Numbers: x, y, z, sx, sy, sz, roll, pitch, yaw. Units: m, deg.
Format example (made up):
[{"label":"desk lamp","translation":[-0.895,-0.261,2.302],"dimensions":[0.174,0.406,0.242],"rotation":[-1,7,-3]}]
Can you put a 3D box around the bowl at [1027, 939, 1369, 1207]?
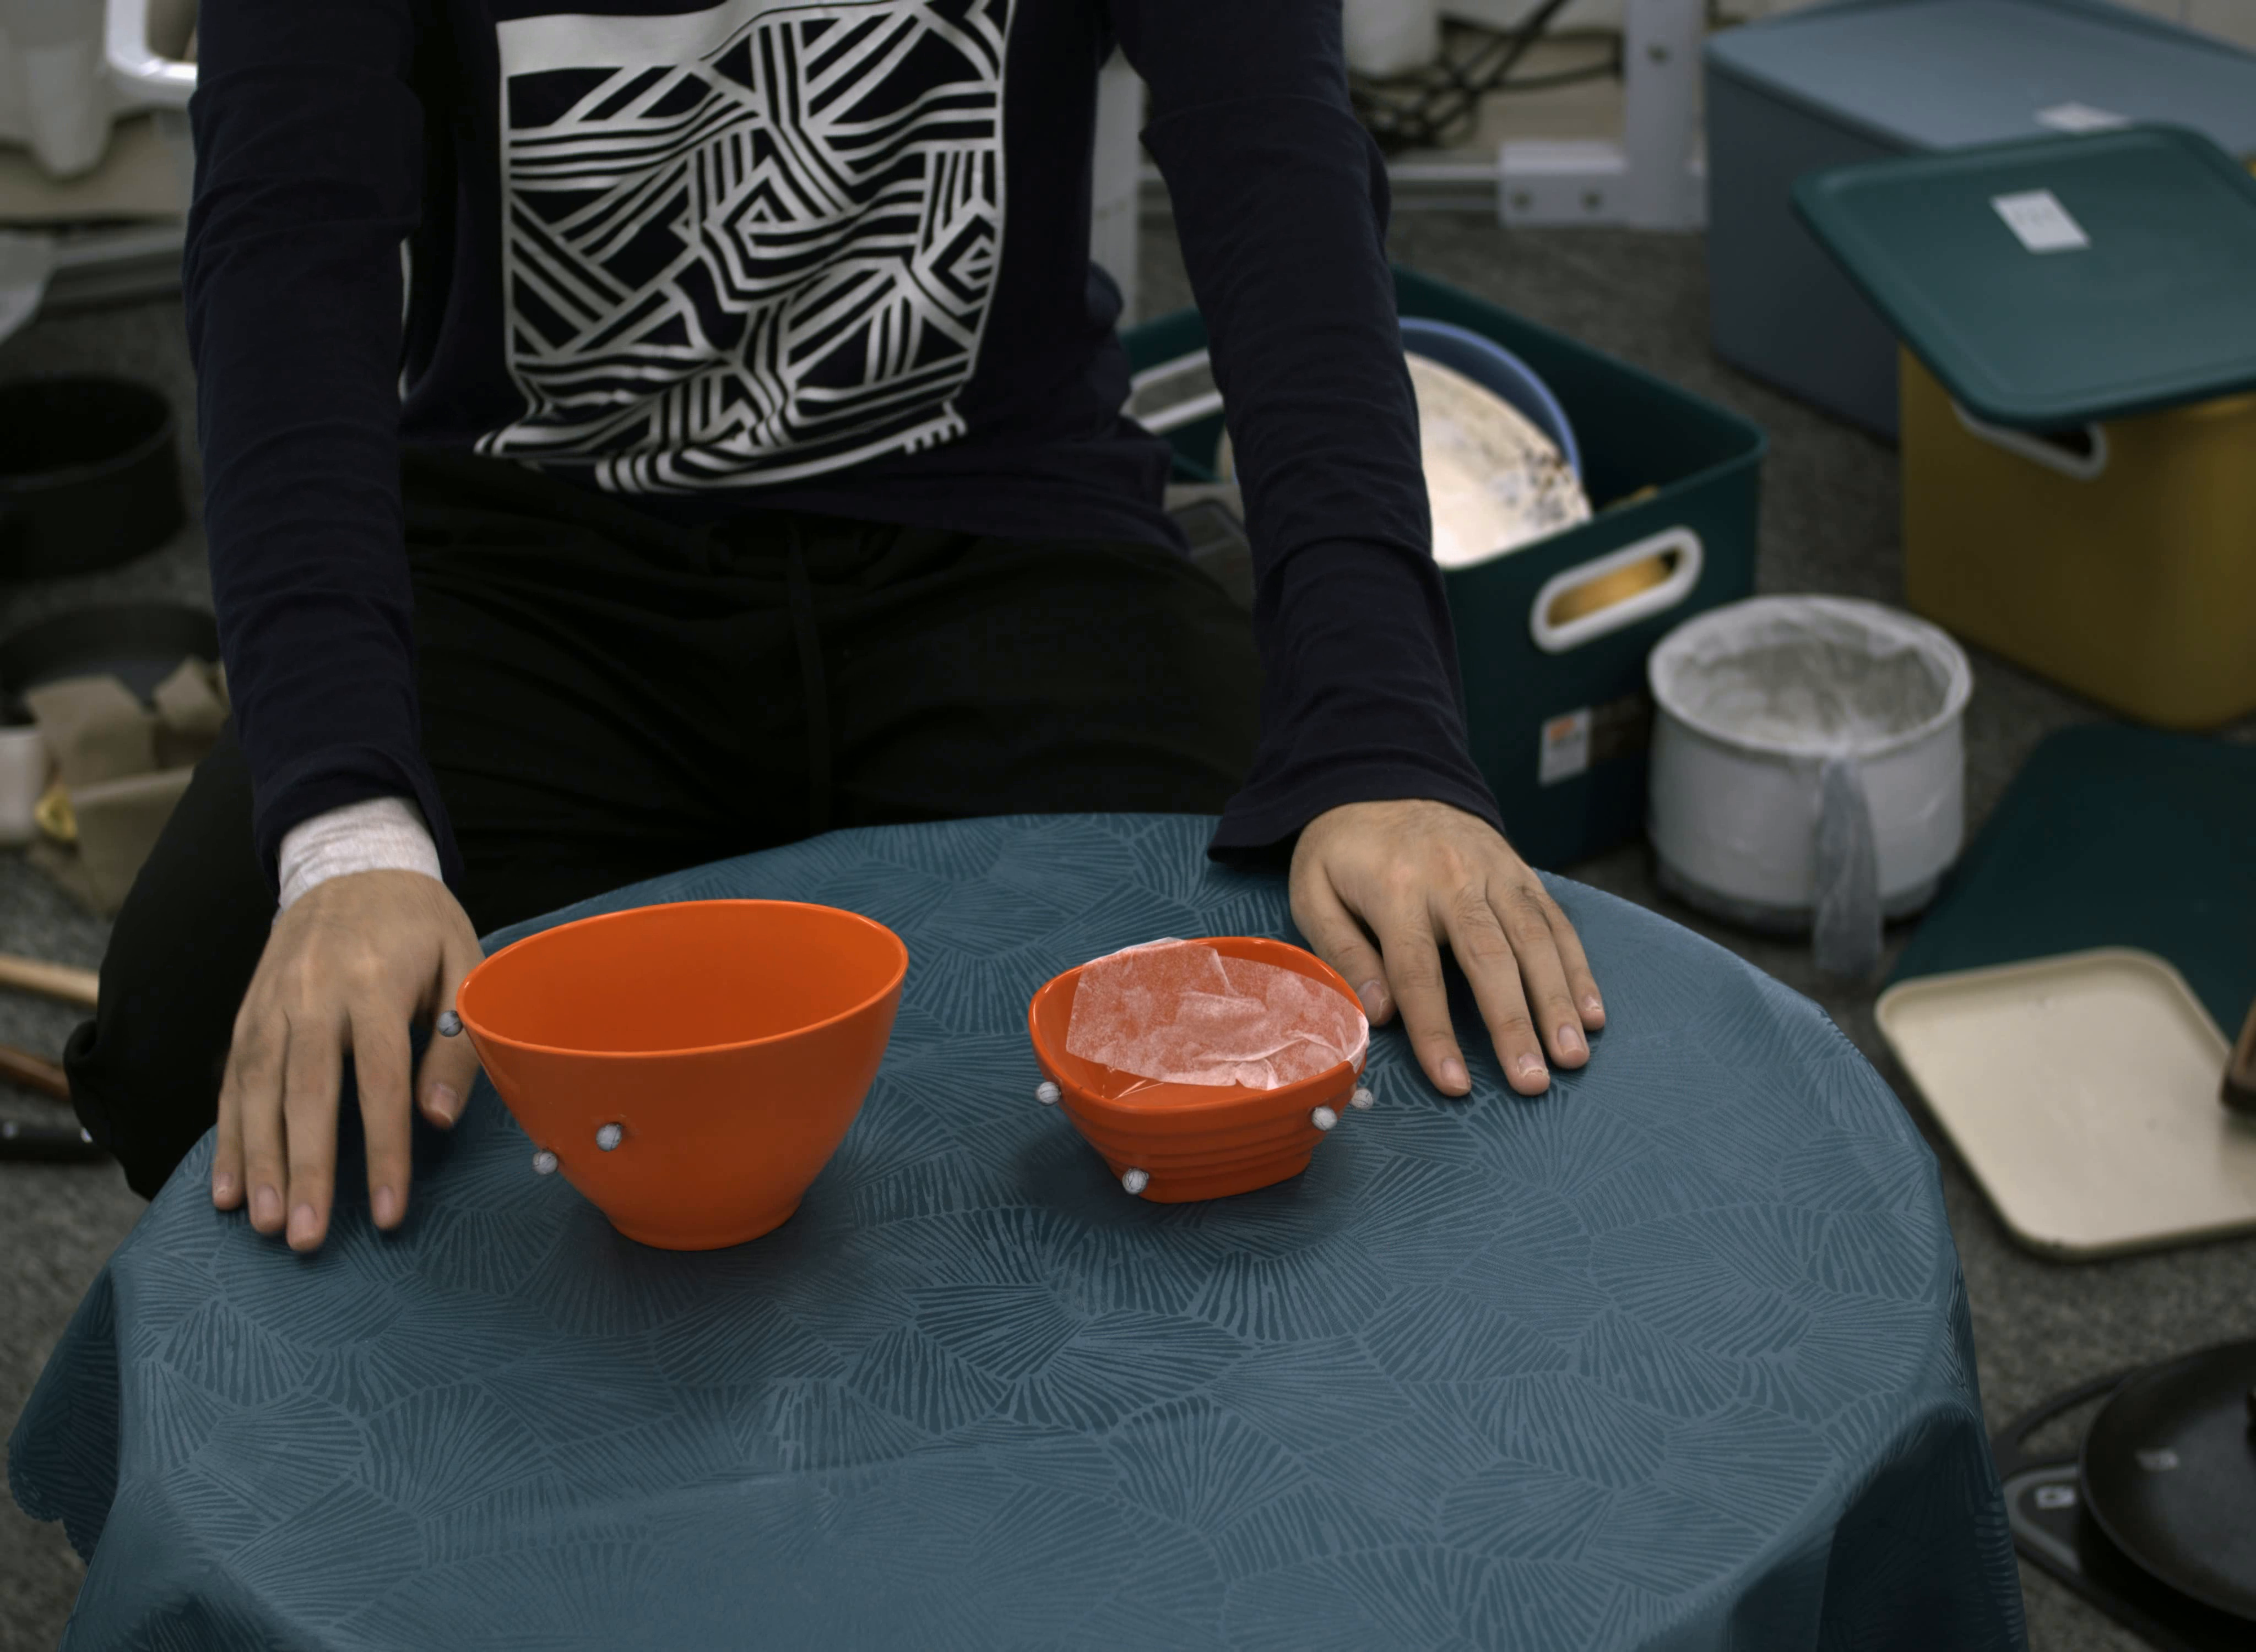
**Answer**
[{"label":"bowl","translation":[0.024,0.086,1.875],"dimensions":[0.118,0.051,0.120],"rotation":[-4,26,2]}]

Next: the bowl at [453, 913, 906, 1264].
[{"label":"bowl","translation":[-0.143,0.088,1.837],"dimensions":[0.147,0.103,0.150],"rotation":[-2,24,1]}]
